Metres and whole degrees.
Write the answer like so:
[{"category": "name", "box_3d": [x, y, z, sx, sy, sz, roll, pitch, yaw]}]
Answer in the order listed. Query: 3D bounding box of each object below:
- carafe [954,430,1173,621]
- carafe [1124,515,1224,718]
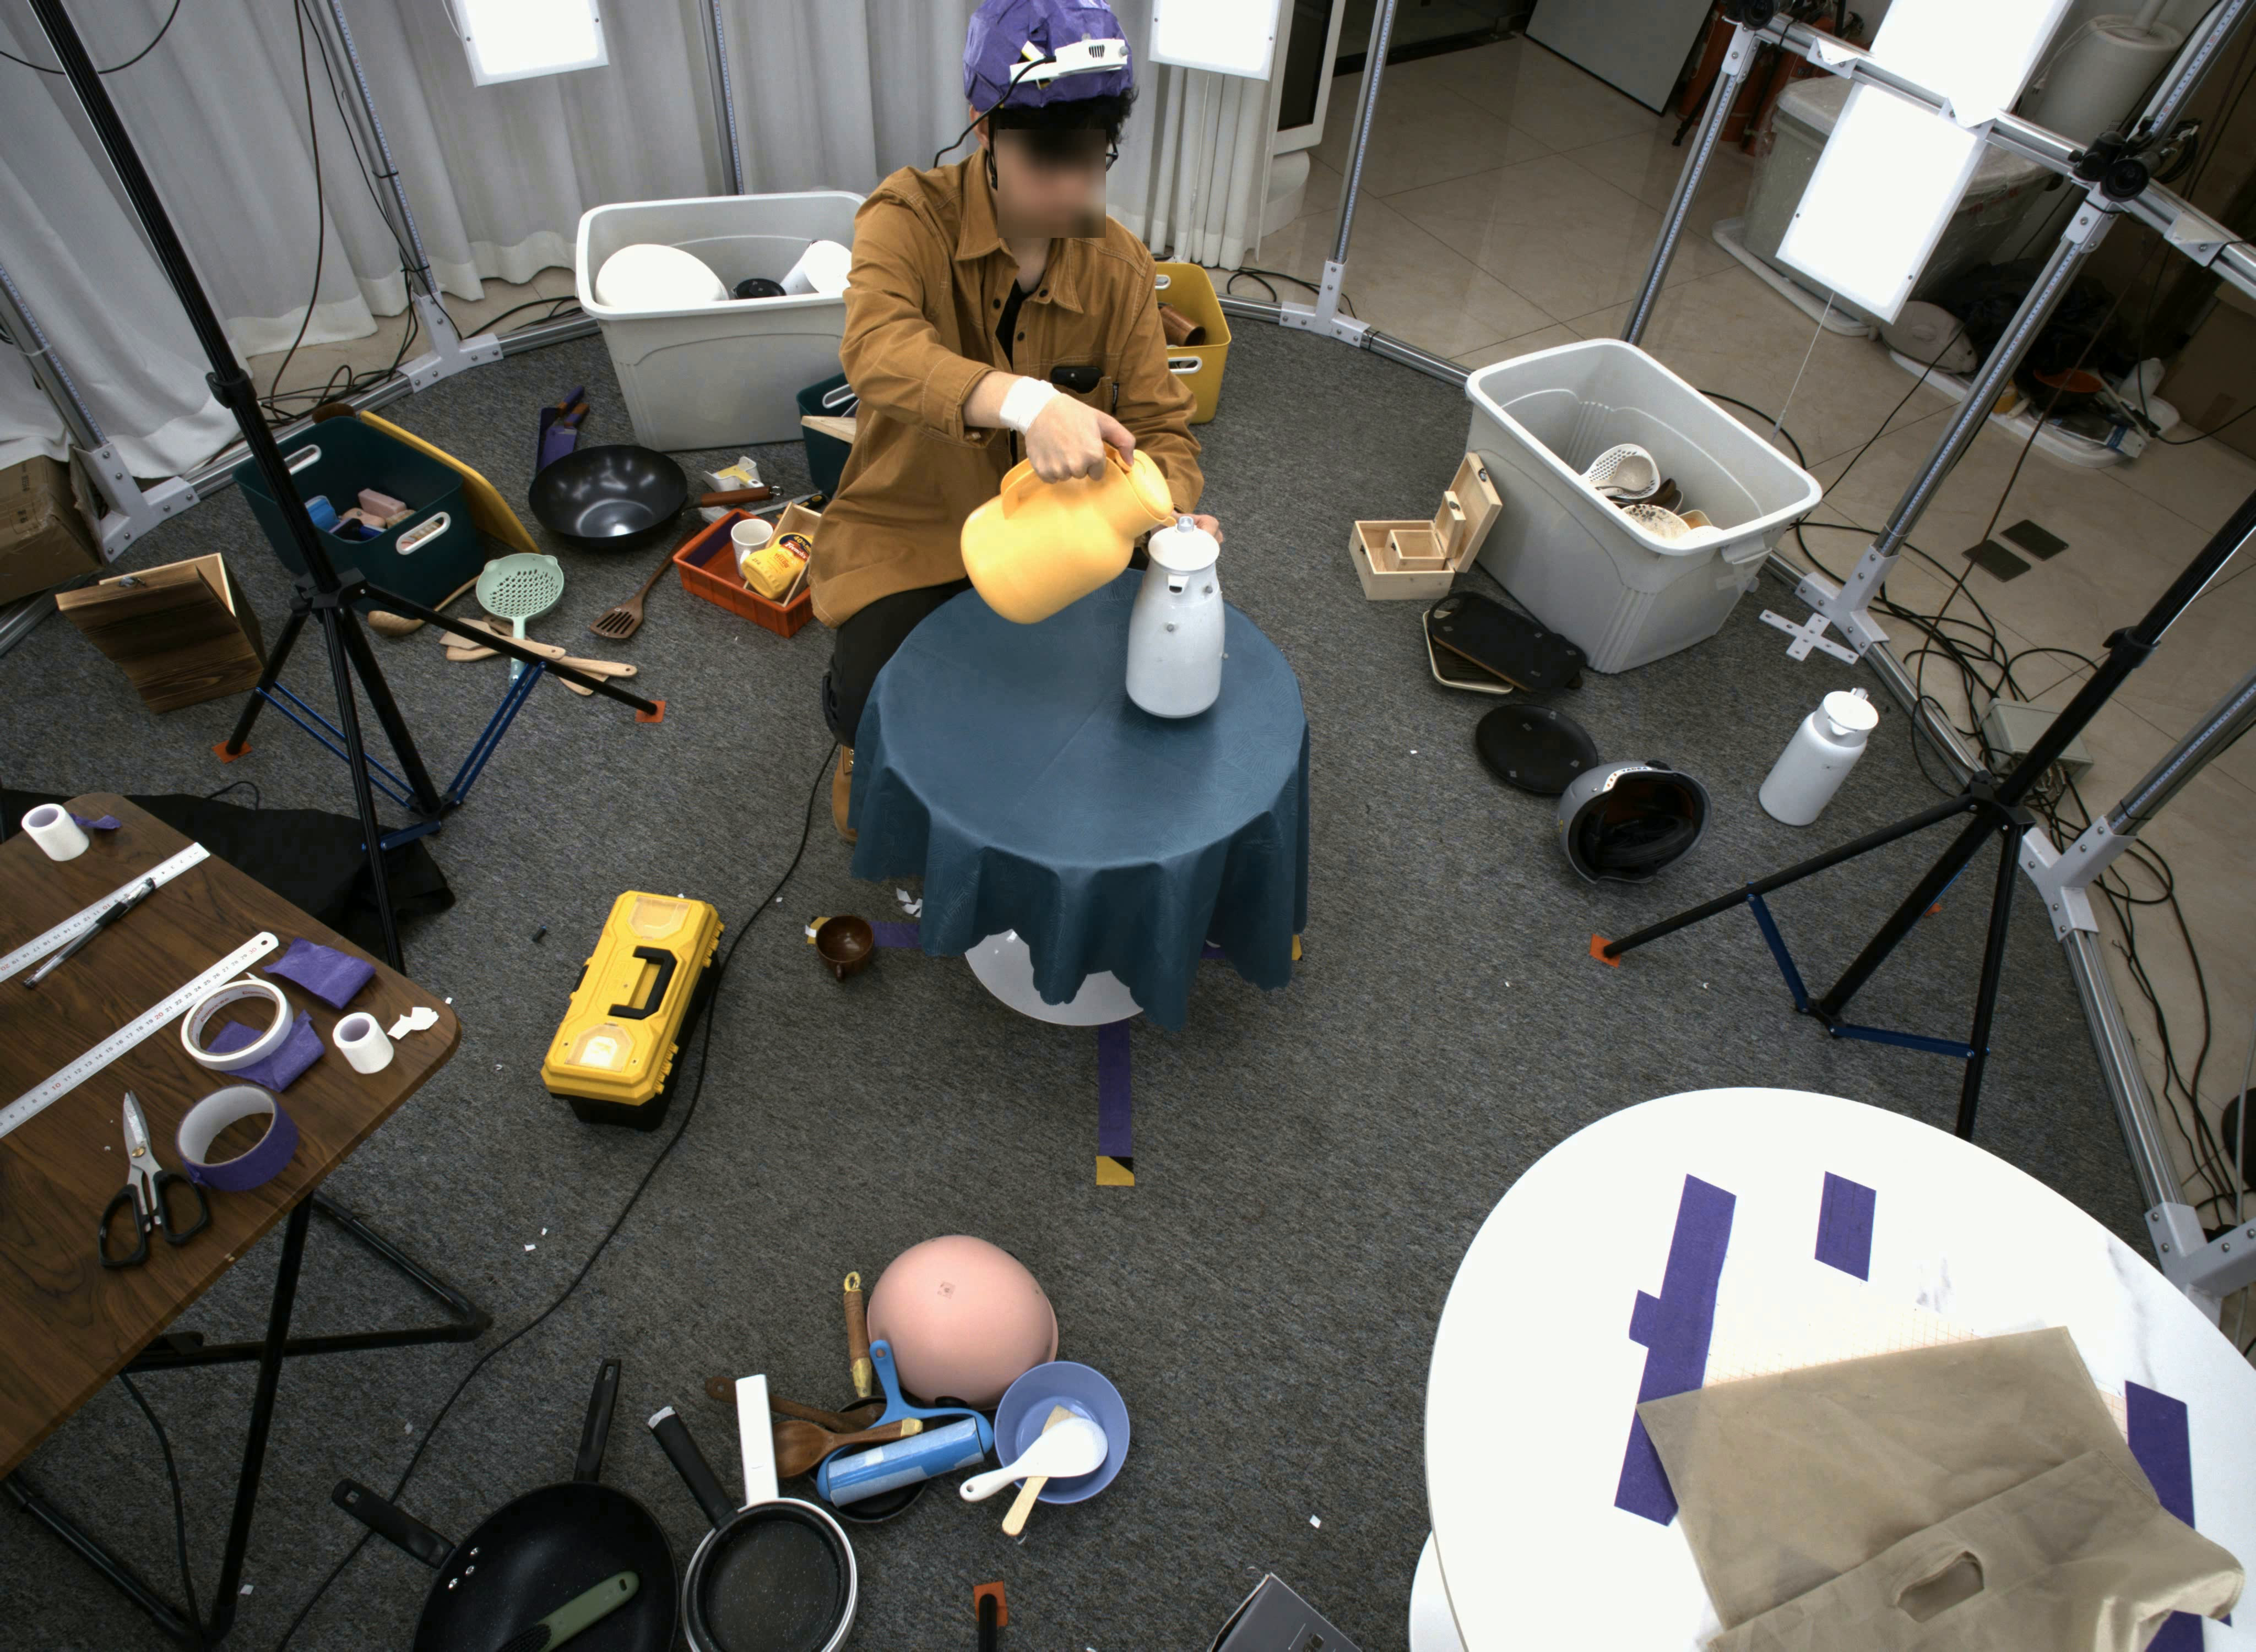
[{"category": "carafe", "box_3d": [-0.087, -0.378, 1.579, 0.259, 0.198, 0.167, -23, 53, 25]}, {"category": "carafe", "box_3d": [0.067, -0.293, 1.730, 0.132, 0.242, 0.171, 8, 47, 5]}]
